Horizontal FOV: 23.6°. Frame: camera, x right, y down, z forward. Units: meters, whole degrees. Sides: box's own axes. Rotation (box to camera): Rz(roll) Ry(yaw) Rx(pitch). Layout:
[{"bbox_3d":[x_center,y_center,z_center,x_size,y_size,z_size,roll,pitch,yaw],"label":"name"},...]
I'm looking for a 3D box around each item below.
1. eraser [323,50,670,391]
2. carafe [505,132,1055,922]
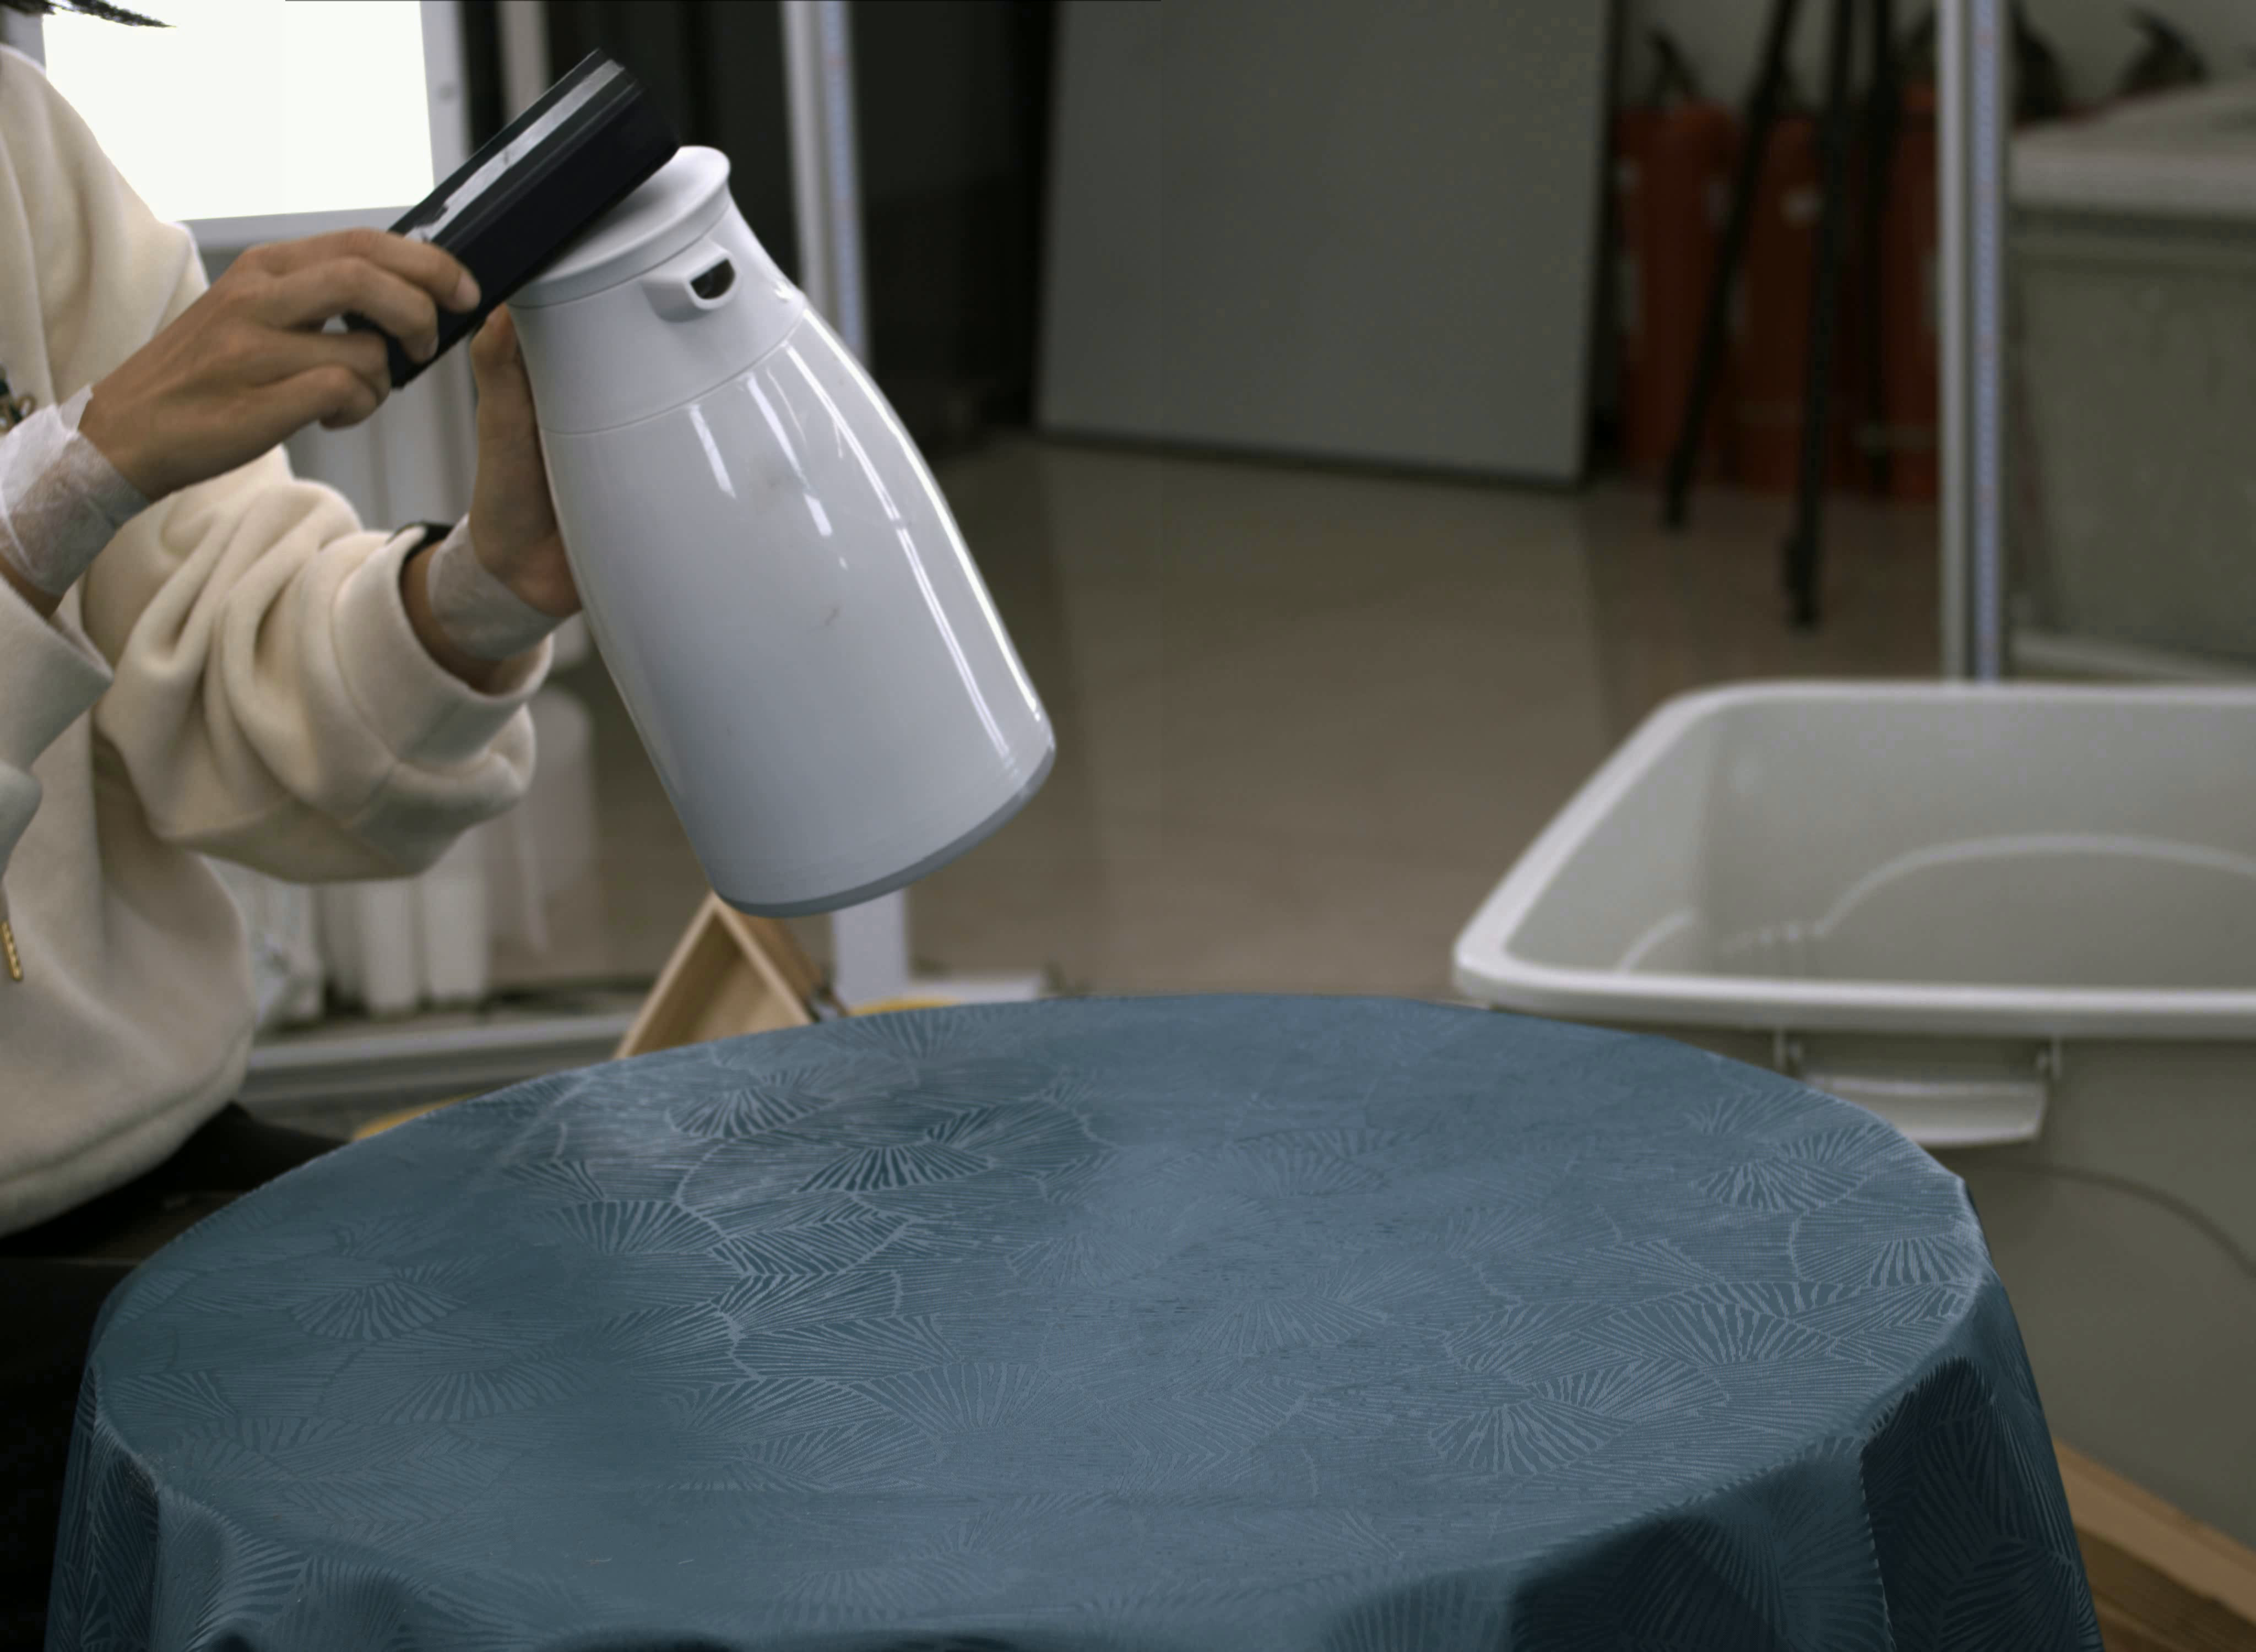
[{"bbox_3d":[-0.205,-0.198,1.765,0.125,0.030,0.054,-43,27,1],"label":"eraser"},{"bbox_3d":[-0.141,-0.109,1.848,0.131,0.249,0.169,-36,25,-24],"label":"carafe"}]
